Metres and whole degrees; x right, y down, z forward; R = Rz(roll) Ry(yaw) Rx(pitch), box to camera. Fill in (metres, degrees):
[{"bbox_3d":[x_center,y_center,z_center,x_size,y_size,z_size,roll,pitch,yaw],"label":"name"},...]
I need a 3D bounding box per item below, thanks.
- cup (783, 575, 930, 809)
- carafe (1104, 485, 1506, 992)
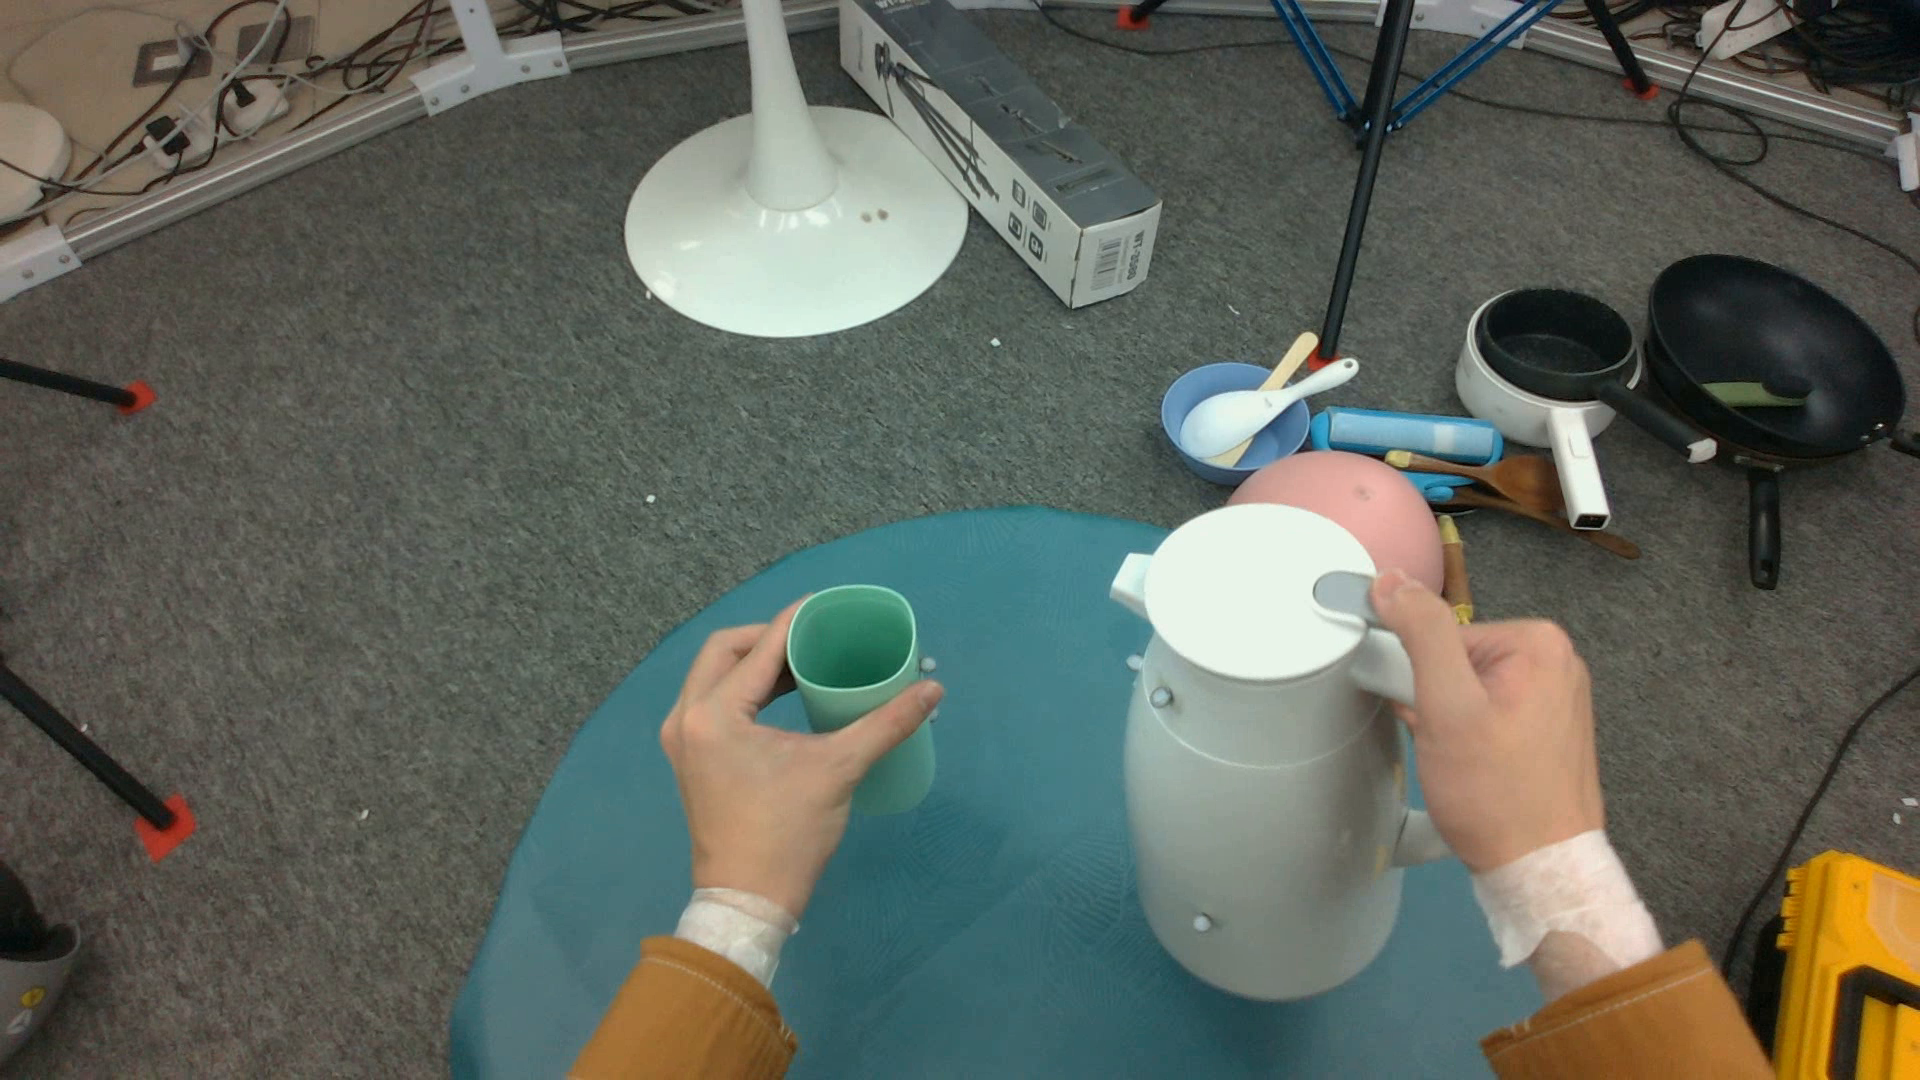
[{"bbox_3d":[-0.051,0.083,0.712,0.067,0.132,0.067,-2,51,2],"label":"cup"},{"bbox_3d":[0.153,0.092,0.618,0.167,0.247,0.133,13,51,23],"label":"carafe"}]
